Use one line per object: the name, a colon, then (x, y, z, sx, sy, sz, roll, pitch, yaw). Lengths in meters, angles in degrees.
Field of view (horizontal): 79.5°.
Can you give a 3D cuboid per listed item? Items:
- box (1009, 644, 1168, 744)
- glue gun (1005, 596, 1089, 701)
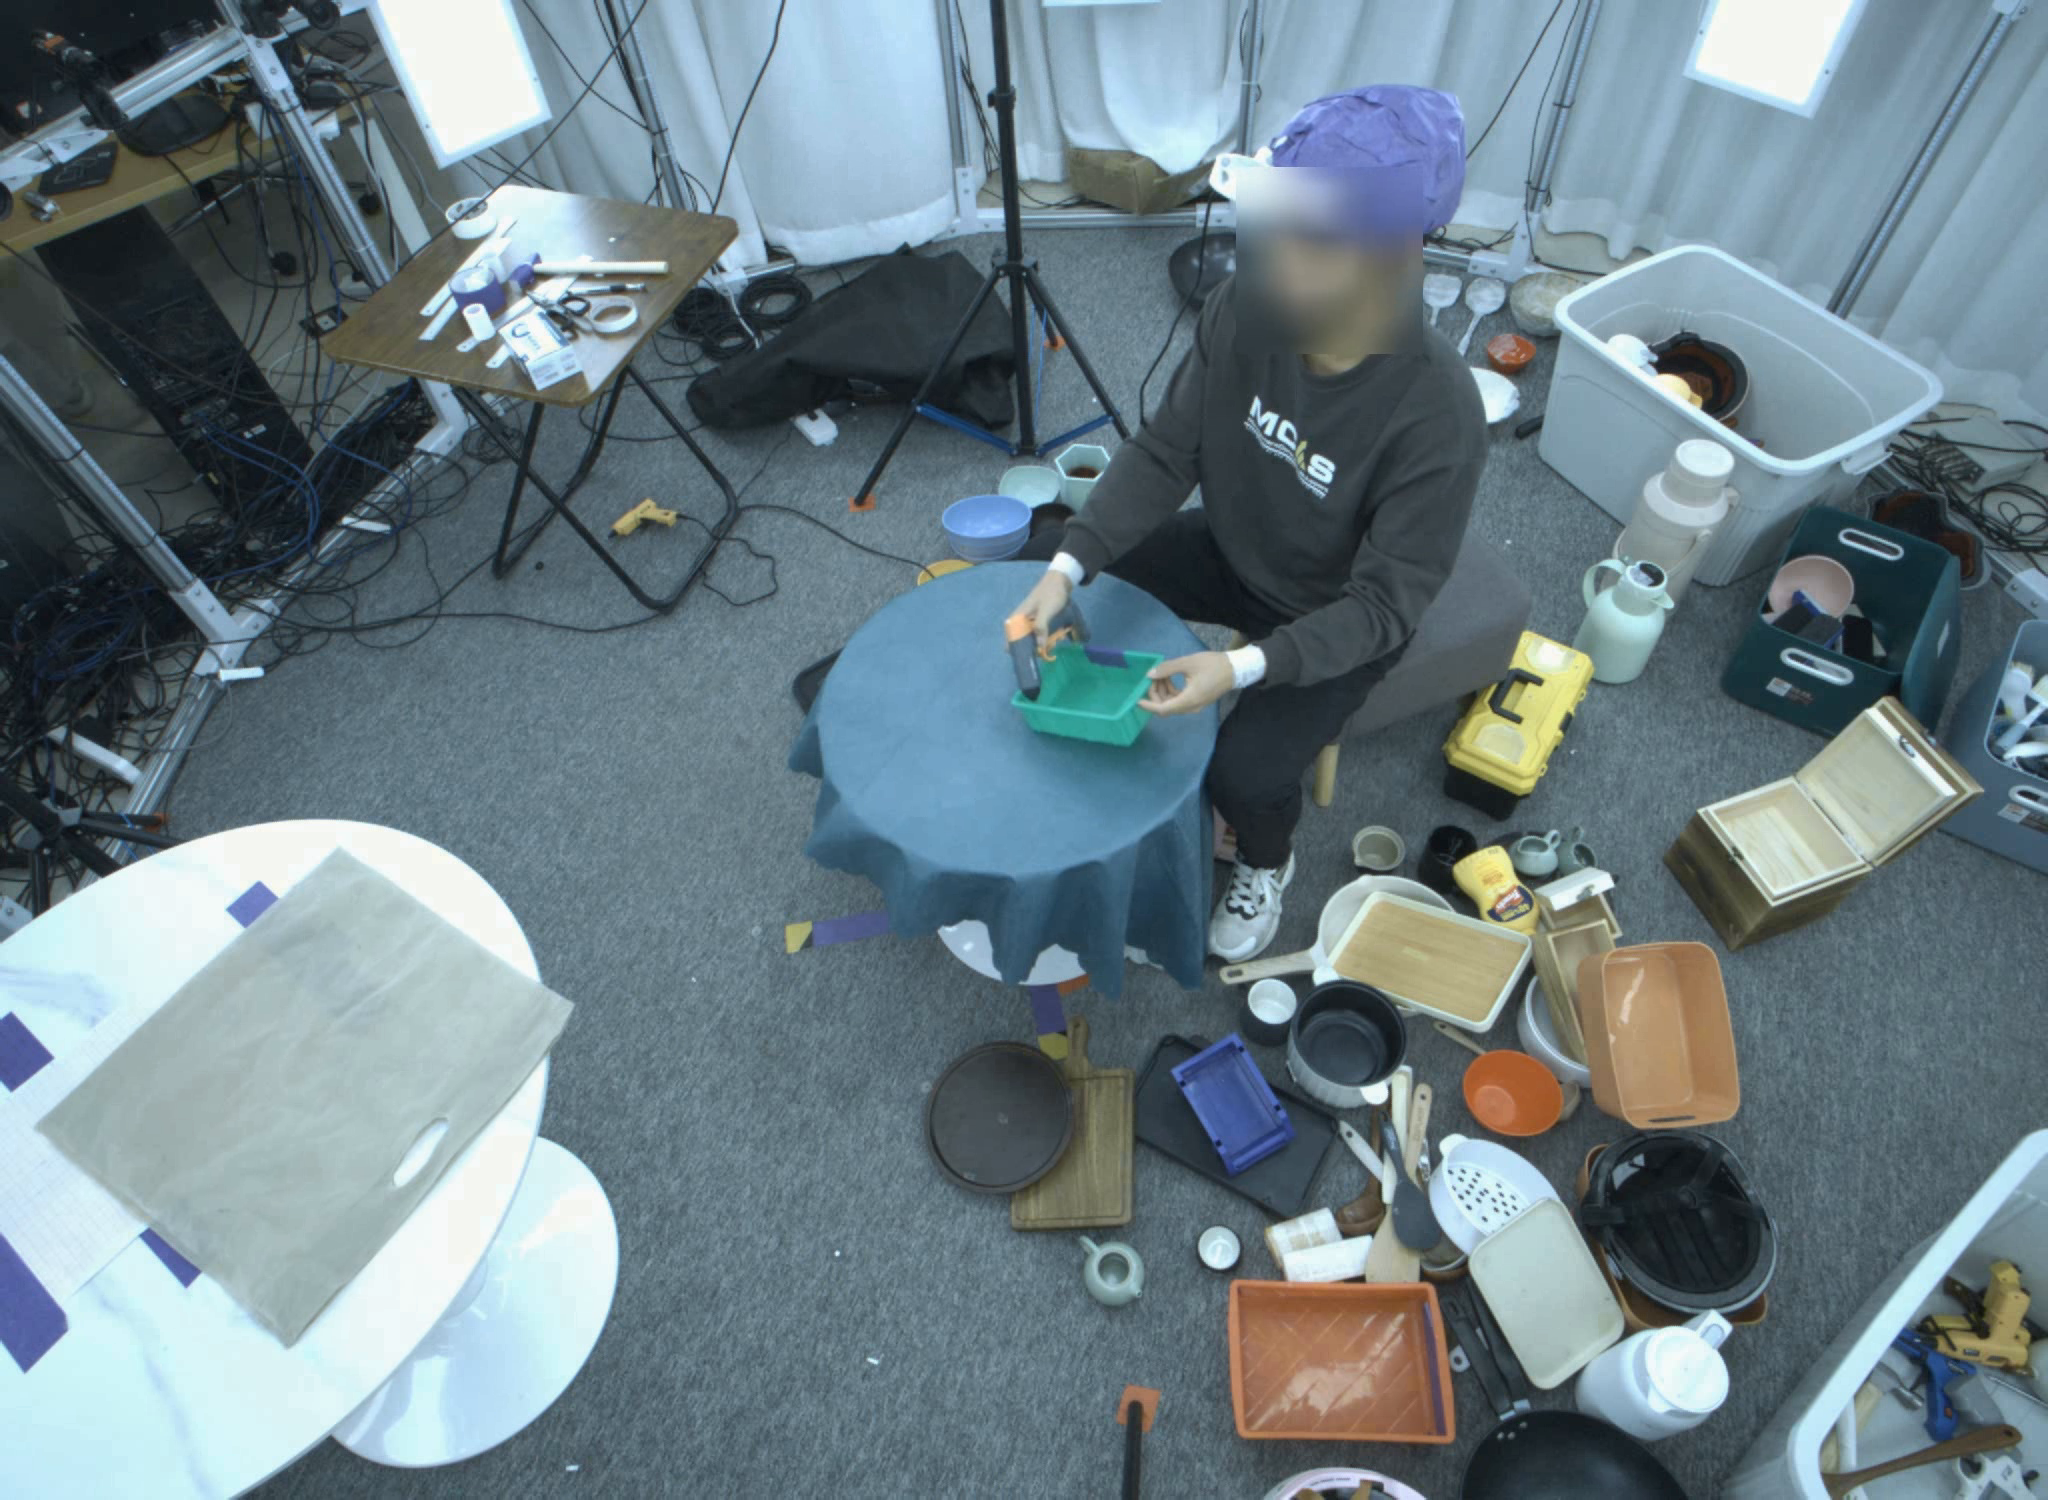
box: (0.096, -0.079, 1.761, 0.206, 0.066, 0.139, 8, 48, 40)
glue gun: (0.029, -0.152, 1.769, 0.040, 0.119, 0.141, 7, 38, 48)
